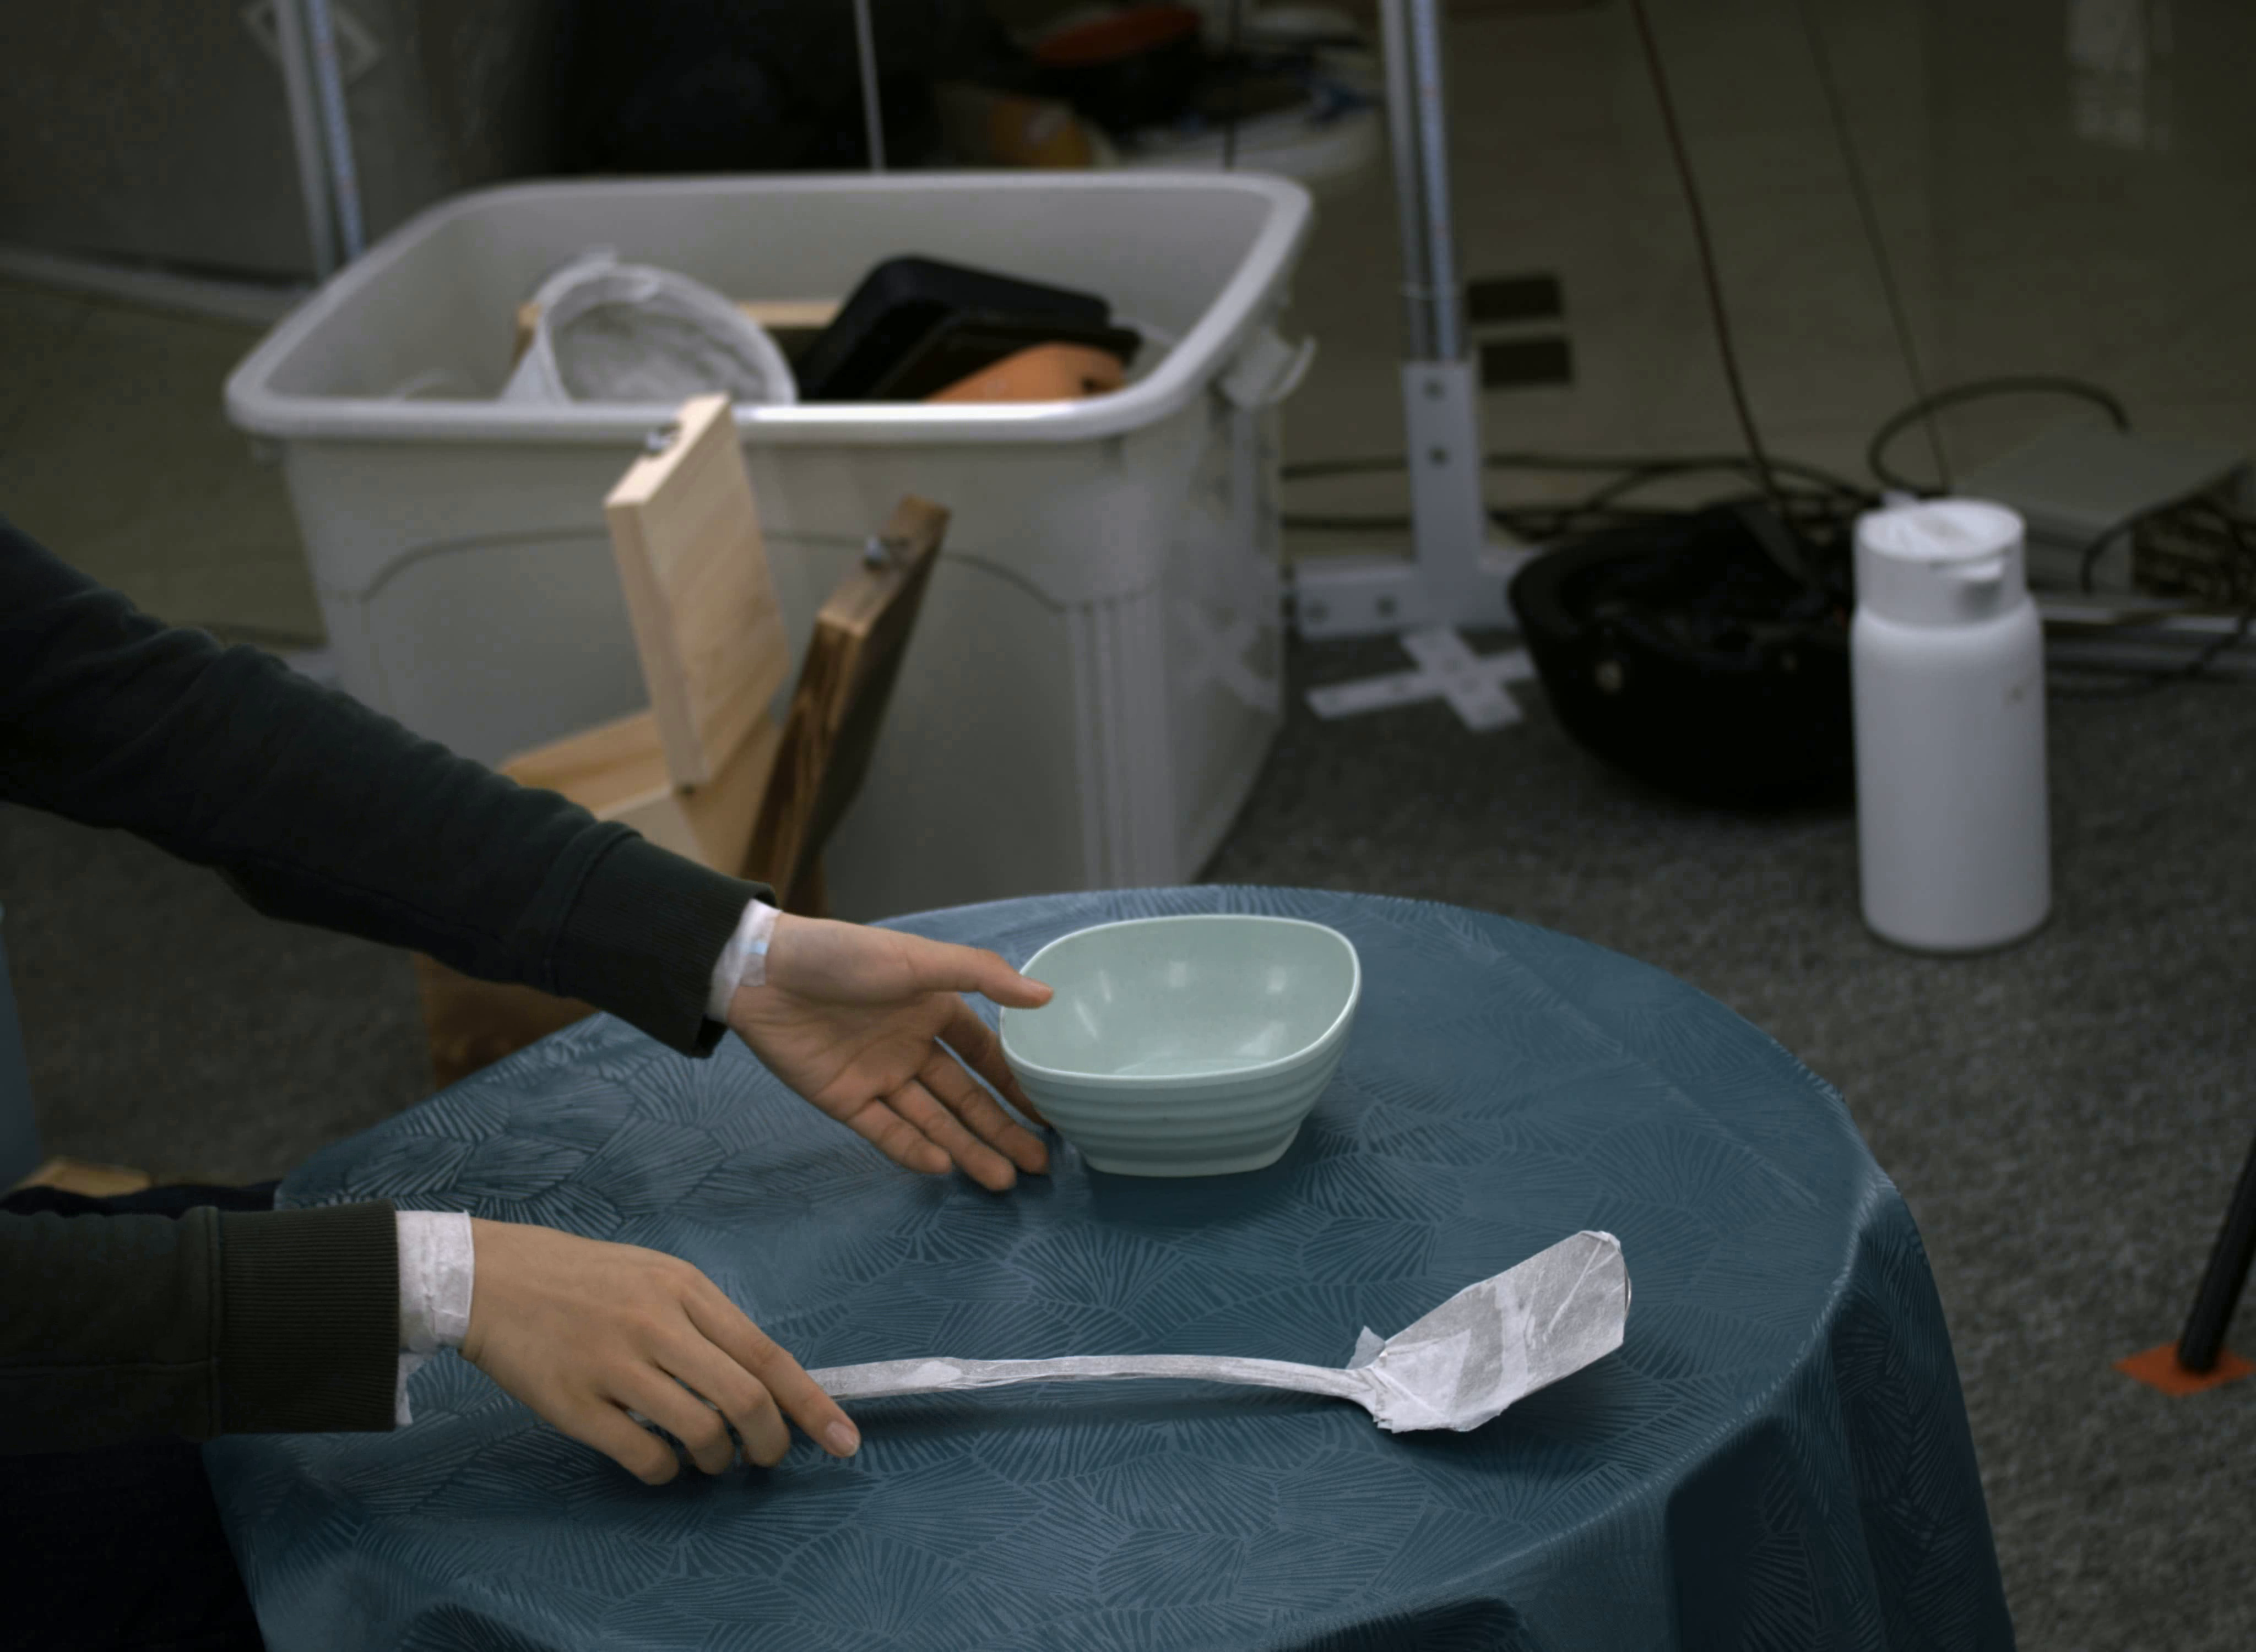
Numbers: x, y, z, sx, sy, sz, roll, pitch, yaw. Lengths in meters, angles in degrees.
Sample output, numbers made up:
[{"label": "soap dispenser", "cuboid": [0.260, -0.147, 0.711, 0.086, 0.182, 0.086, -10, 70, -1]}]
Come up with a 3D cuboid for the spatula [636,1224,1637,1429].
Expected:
[{"label": "spatula", "cuboid": [-0.002, 0.187, 2.005, 0.364, 0.045, 0.097, -3, 27, 8]}]

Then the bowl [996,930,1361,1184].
[{"label": "bowl", "cuboid": [0.022, 0.094, 2.181, 0.151, 0.059, 0.149, -4, 23, 2]}]
